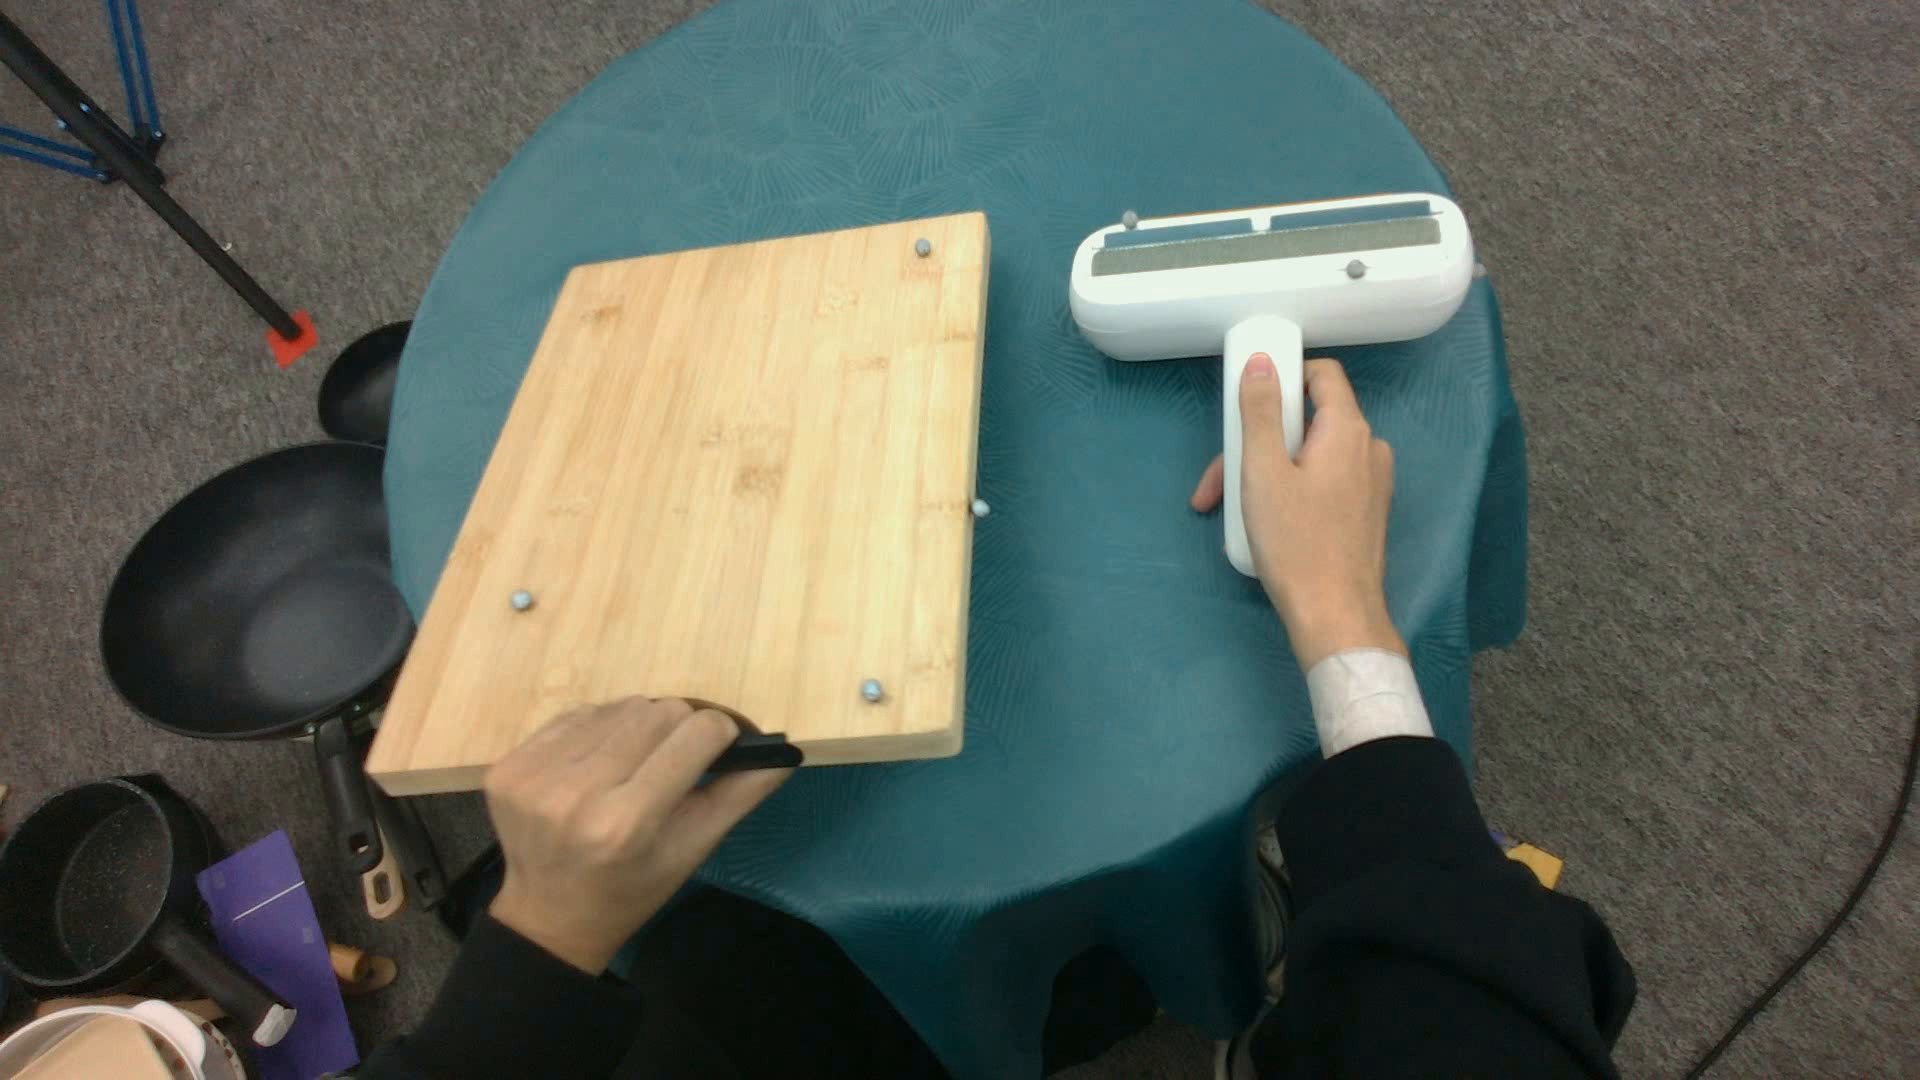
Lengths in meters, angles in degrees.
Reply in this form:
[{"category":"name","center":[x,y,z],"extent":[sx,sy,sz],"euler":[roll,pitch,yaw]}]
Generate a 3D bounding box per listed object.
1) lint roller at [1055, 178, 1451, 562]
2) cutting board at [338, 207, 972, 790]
[{"category":"lint roller","center":[0.135,-0.085,0.668],"extent":[0.192,0.074,0.193],"euler":[2,63,17]},{"category":"cutting board","center":[-0.120,-0.040,0.651],"extent":[0.250,0.023,0.350],"euler":[-5,47,7]}]
